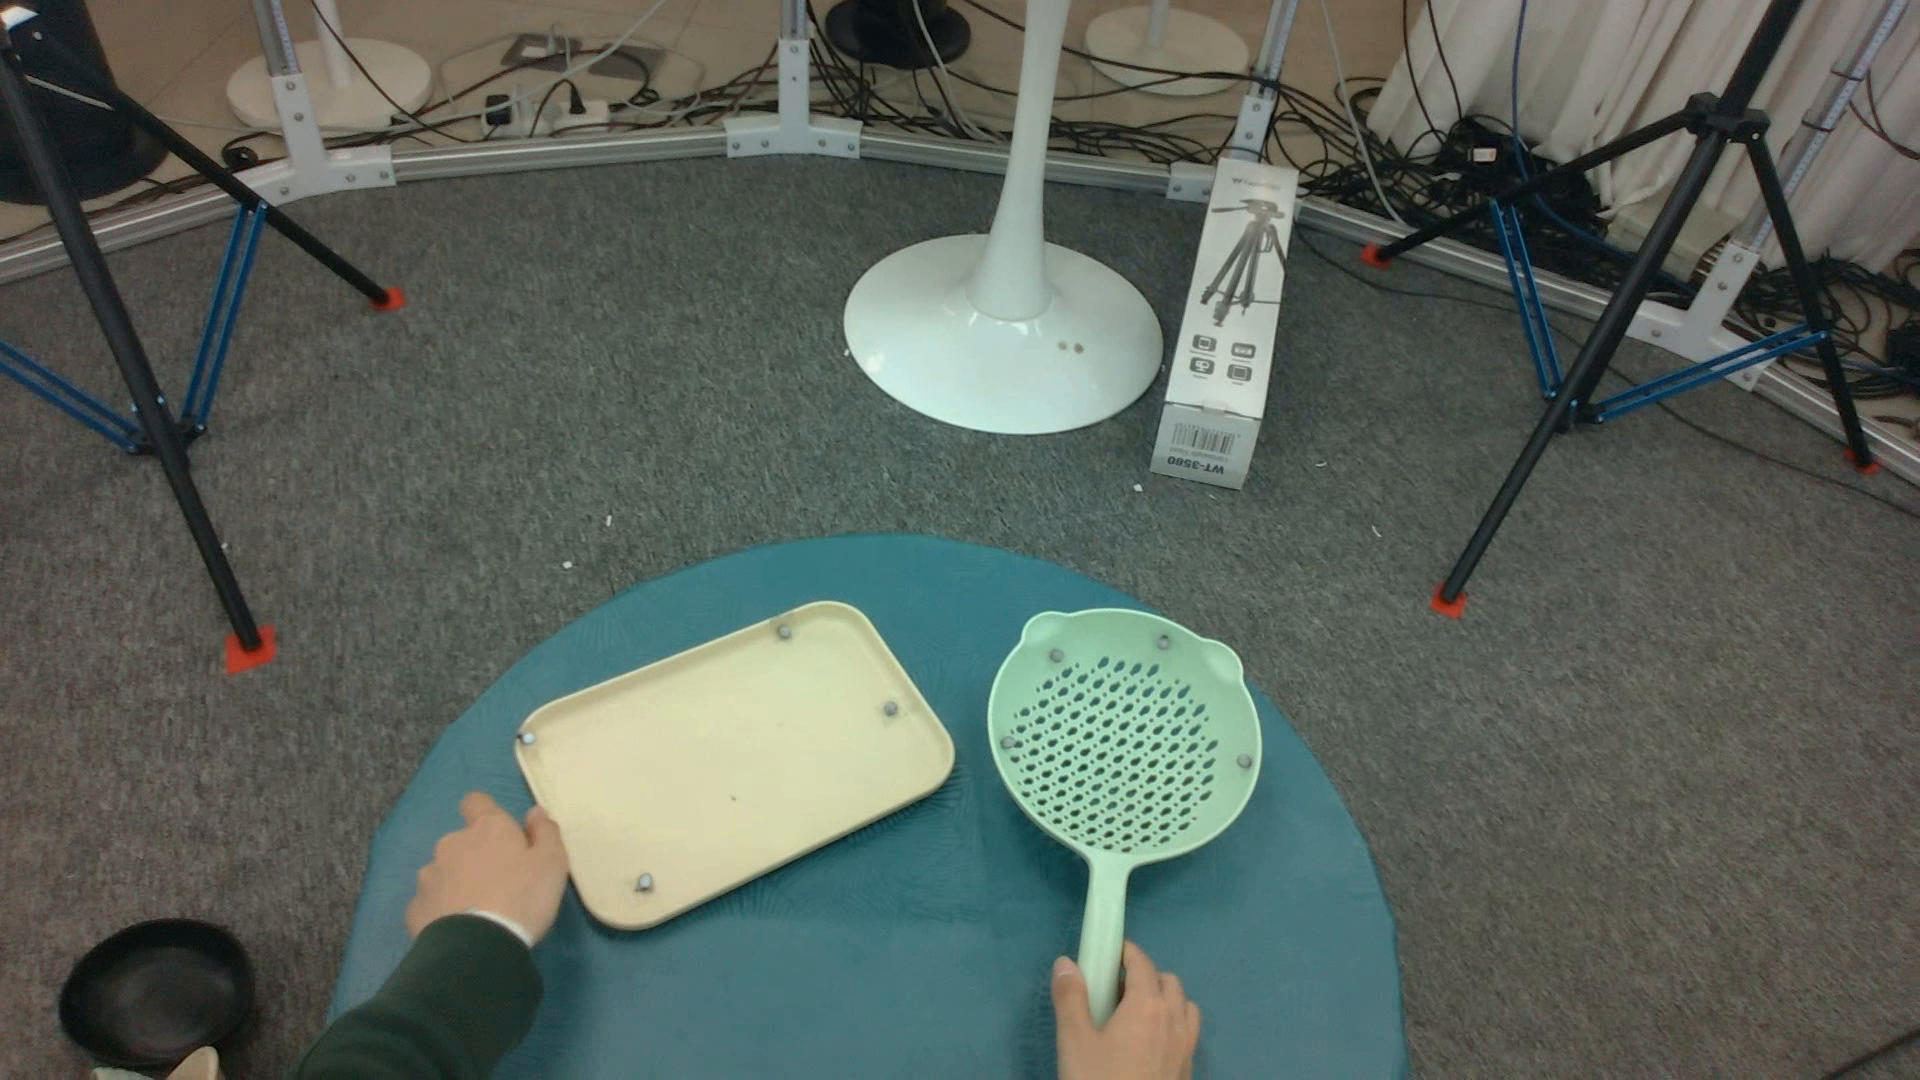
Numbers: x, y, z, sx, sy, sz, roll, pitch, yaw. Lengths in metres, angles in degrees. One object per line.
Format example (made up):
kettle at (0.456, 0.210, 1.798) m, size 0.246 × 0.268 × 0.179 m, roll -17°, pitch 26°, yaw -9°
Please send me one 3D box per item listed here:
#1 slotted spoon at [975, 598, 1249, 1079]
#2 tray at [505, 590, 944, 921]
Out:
slotted spoon at (0.076, 0.191, 0.789) m, size 0.169 × 0.075 × 0.360 m, roll 10°, pitch 46°, yaw 1°
tray at (-0.143, 0.126, 0.853) m, size 0.240 × 0.017 × 0.171 m, roll -22°, pitch 53°, yaw -25°
